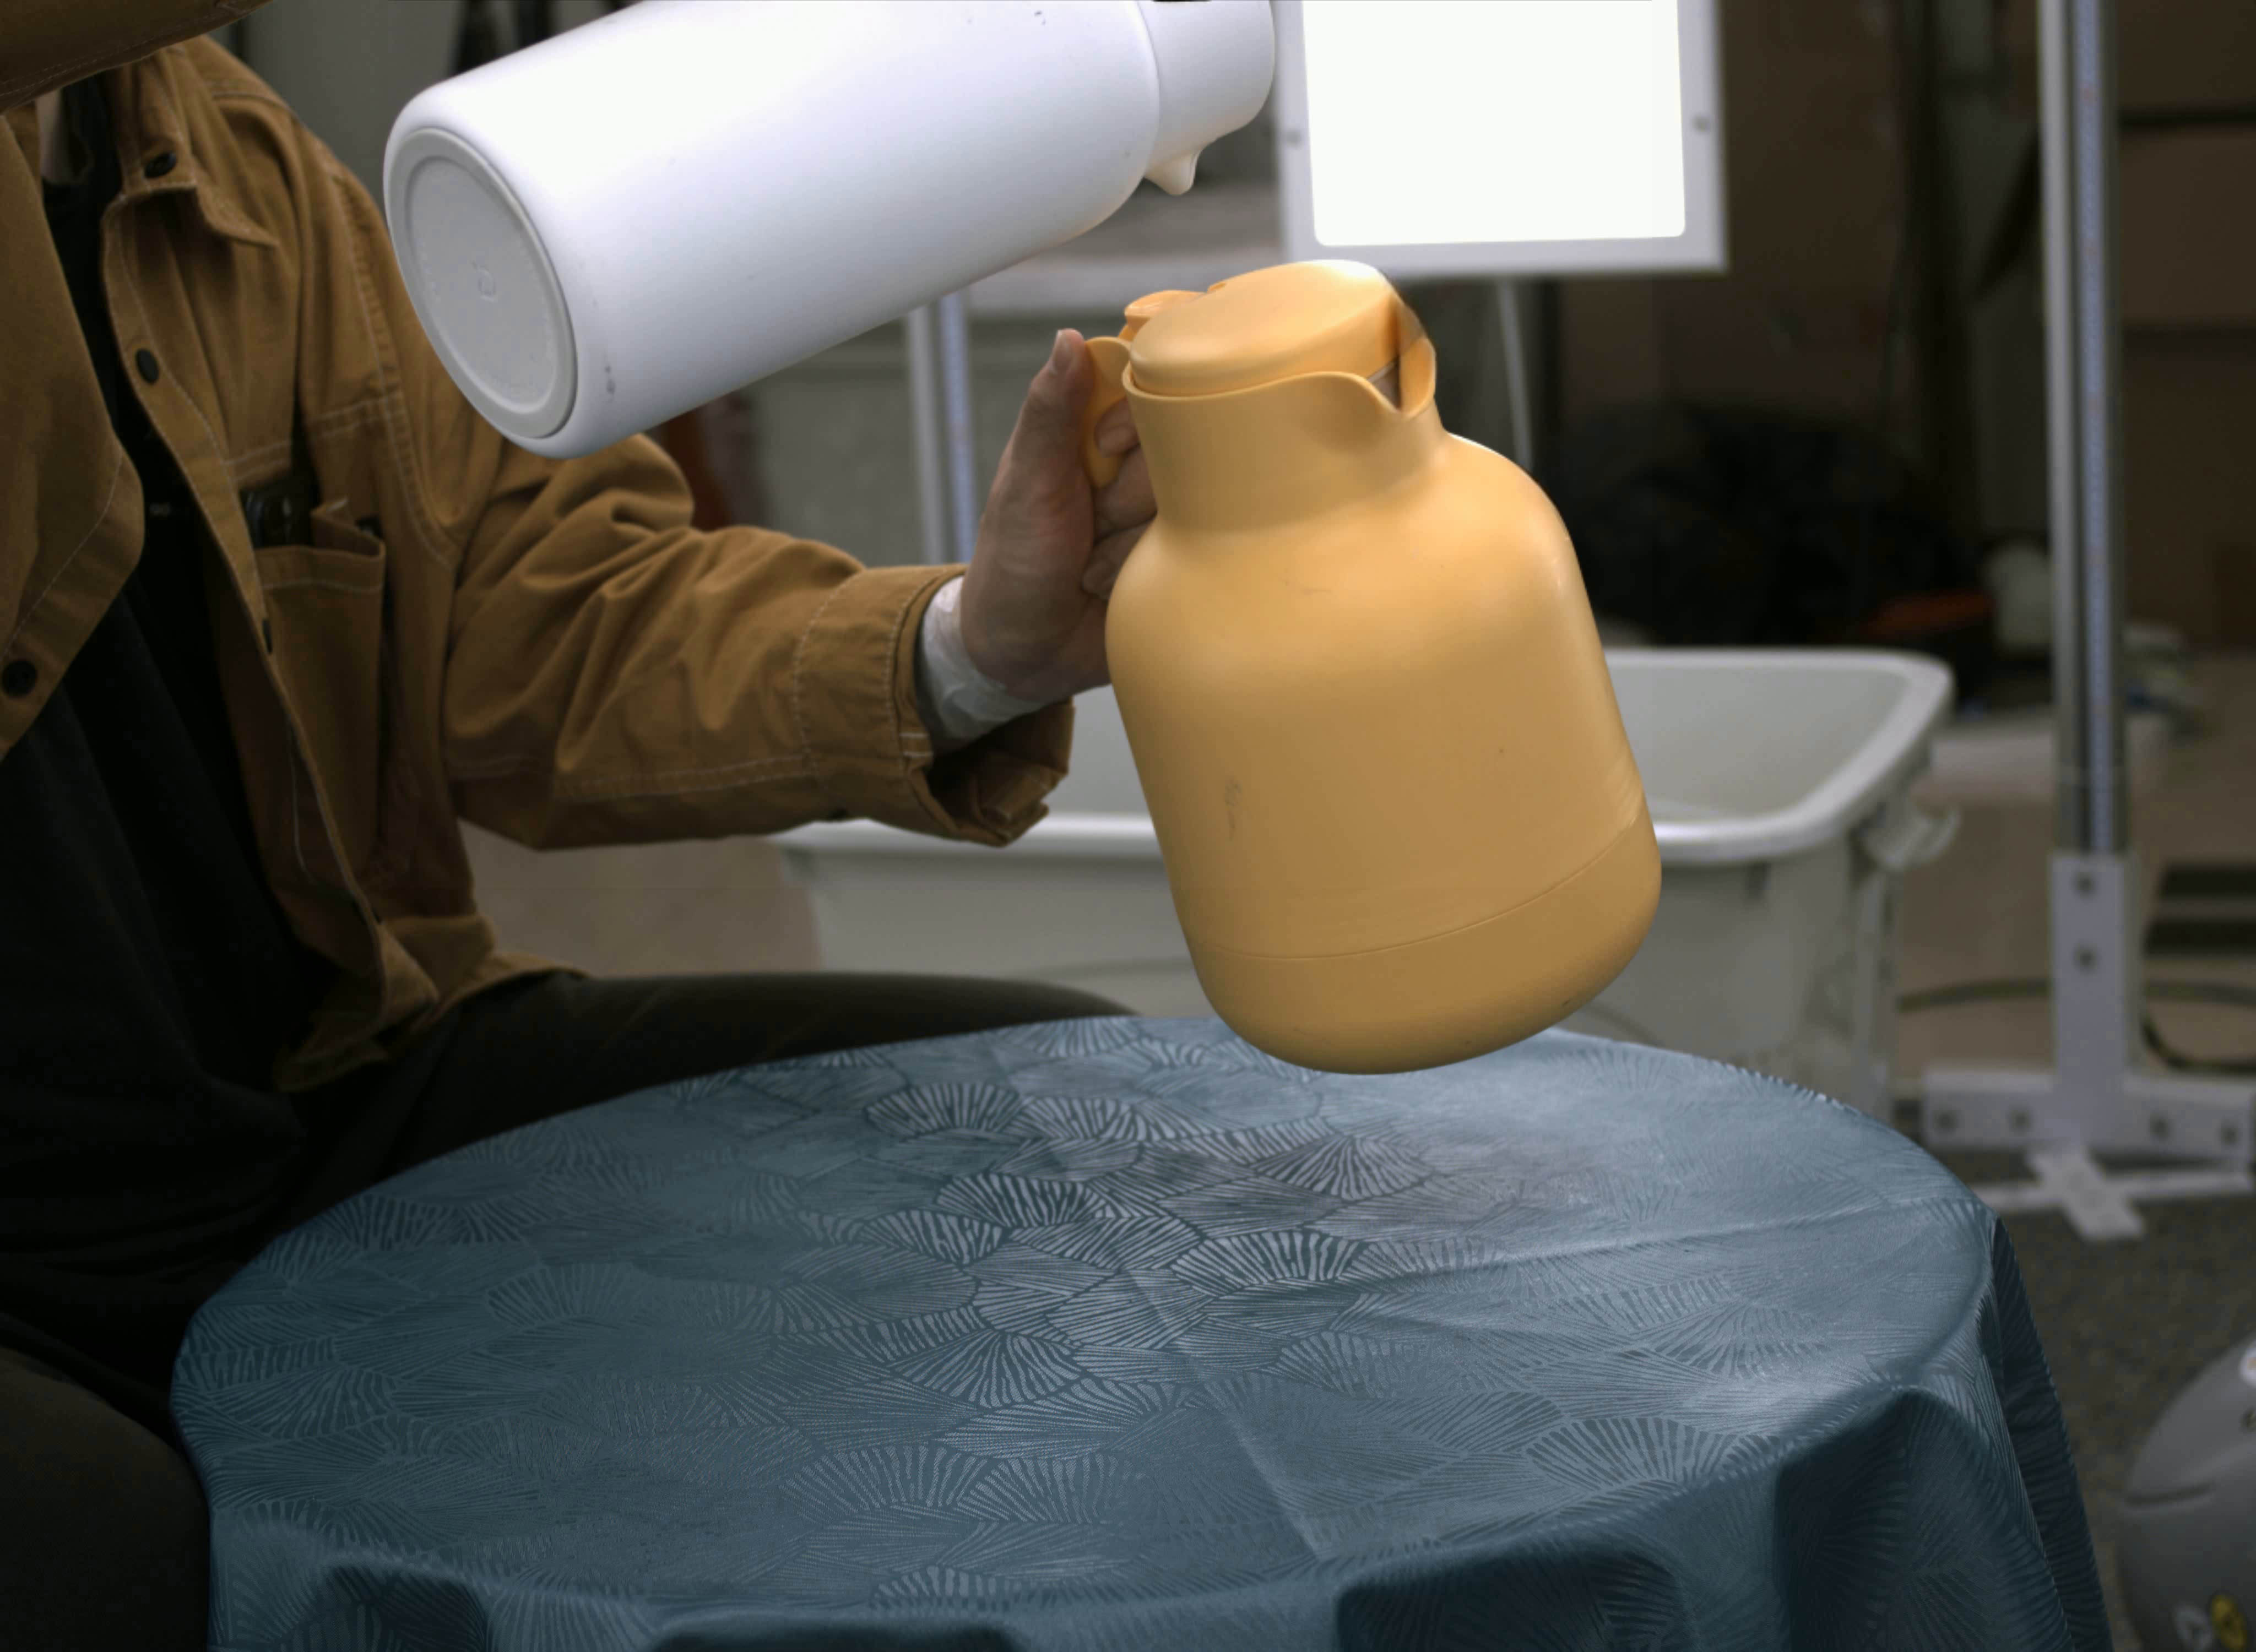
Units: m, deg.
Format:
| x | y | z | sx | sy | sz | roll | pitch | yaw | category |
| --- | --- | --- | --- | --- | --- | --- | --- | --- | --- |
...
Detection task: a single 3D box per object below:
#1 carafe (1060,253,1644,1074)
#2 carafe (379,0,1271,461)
| x | y | z | sx | sy | sz | roll | pitch | yaw | category |
| --- | --- | --- | --- | --- | --- | --- | --- | --- | --- |
| 0.063 | -0.063 | 1.840 | 0.160 | 0.260 | 0.206 | -26 | 25 | -26 | carafe |
| -0.089 | -0.226 | 1.665 | 0.263 | 0.173 | 0.126 | -26 | 39 | -25 | carafe |
